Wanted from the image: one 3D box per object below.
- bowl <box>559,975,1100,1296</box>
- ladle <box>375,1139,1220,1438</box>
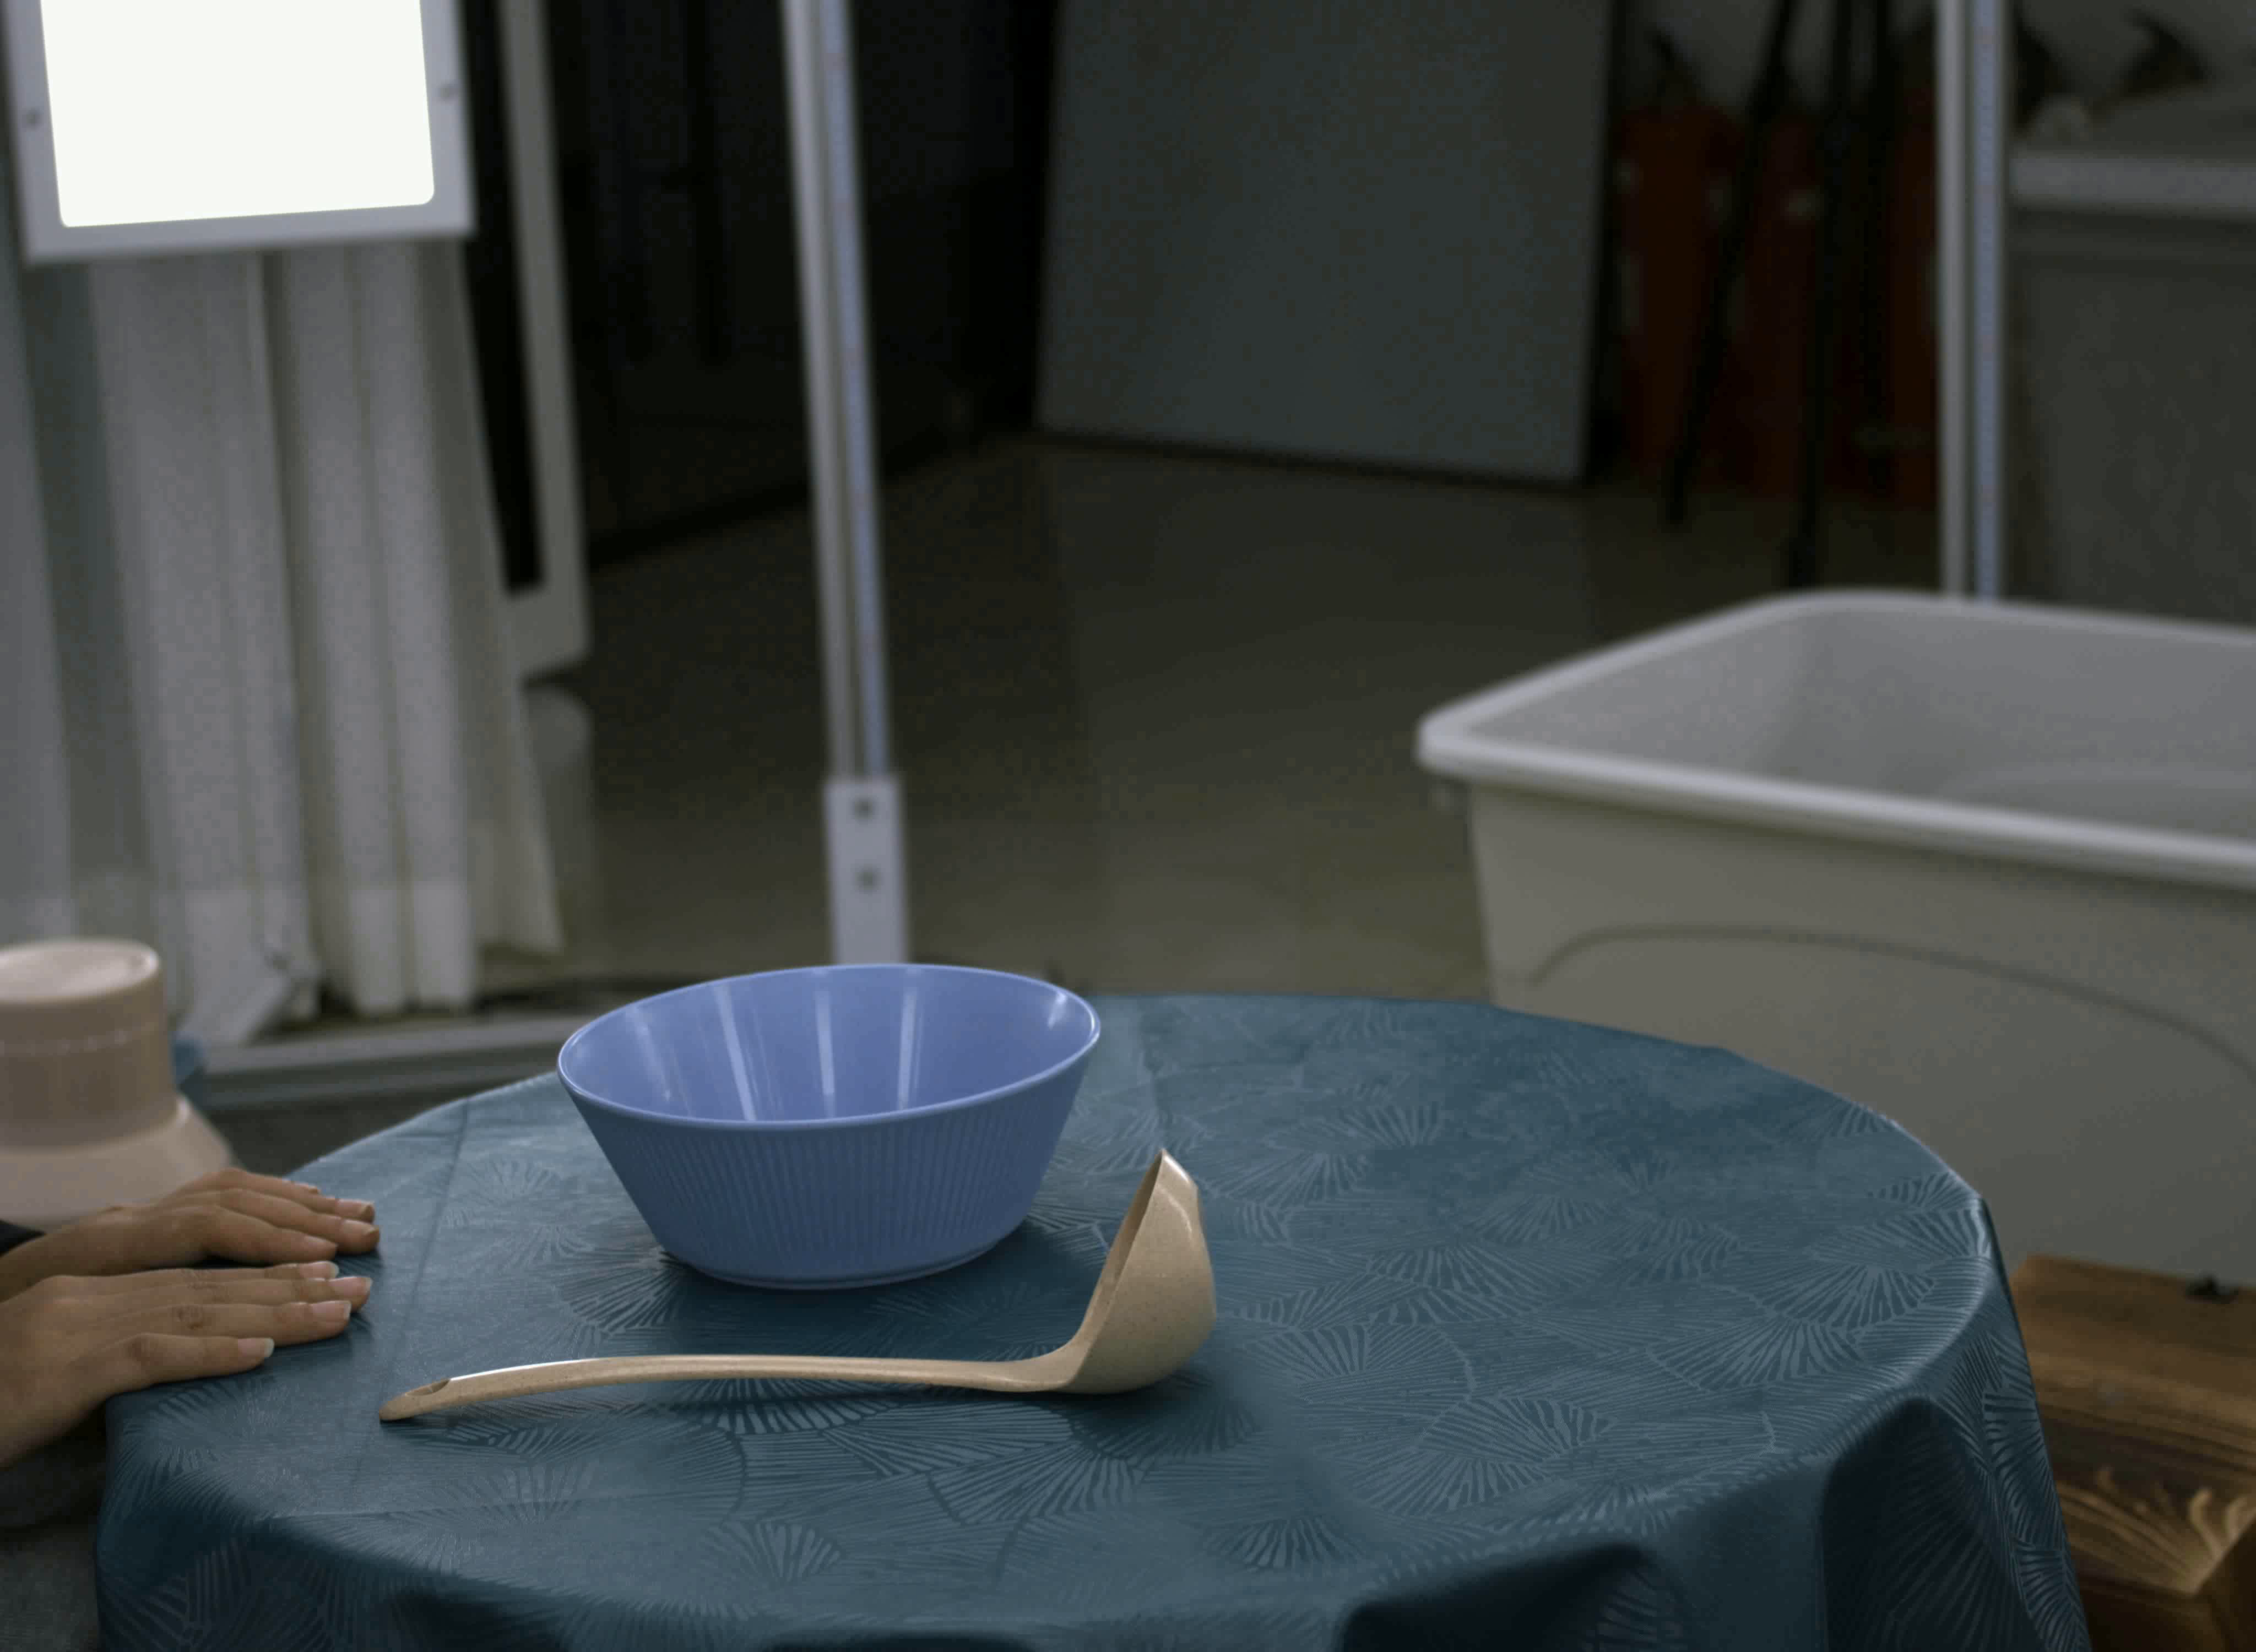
[{"bbox_3d":[-0.093,0.101,1.734,0.174,0.071,0.176,-4,13,0],"label":"bowl"},{"bbox_3d":[-0.099,0.136,1.587,0.251,0.073,0.072,-4,12,3],"label":"ladle"}]
